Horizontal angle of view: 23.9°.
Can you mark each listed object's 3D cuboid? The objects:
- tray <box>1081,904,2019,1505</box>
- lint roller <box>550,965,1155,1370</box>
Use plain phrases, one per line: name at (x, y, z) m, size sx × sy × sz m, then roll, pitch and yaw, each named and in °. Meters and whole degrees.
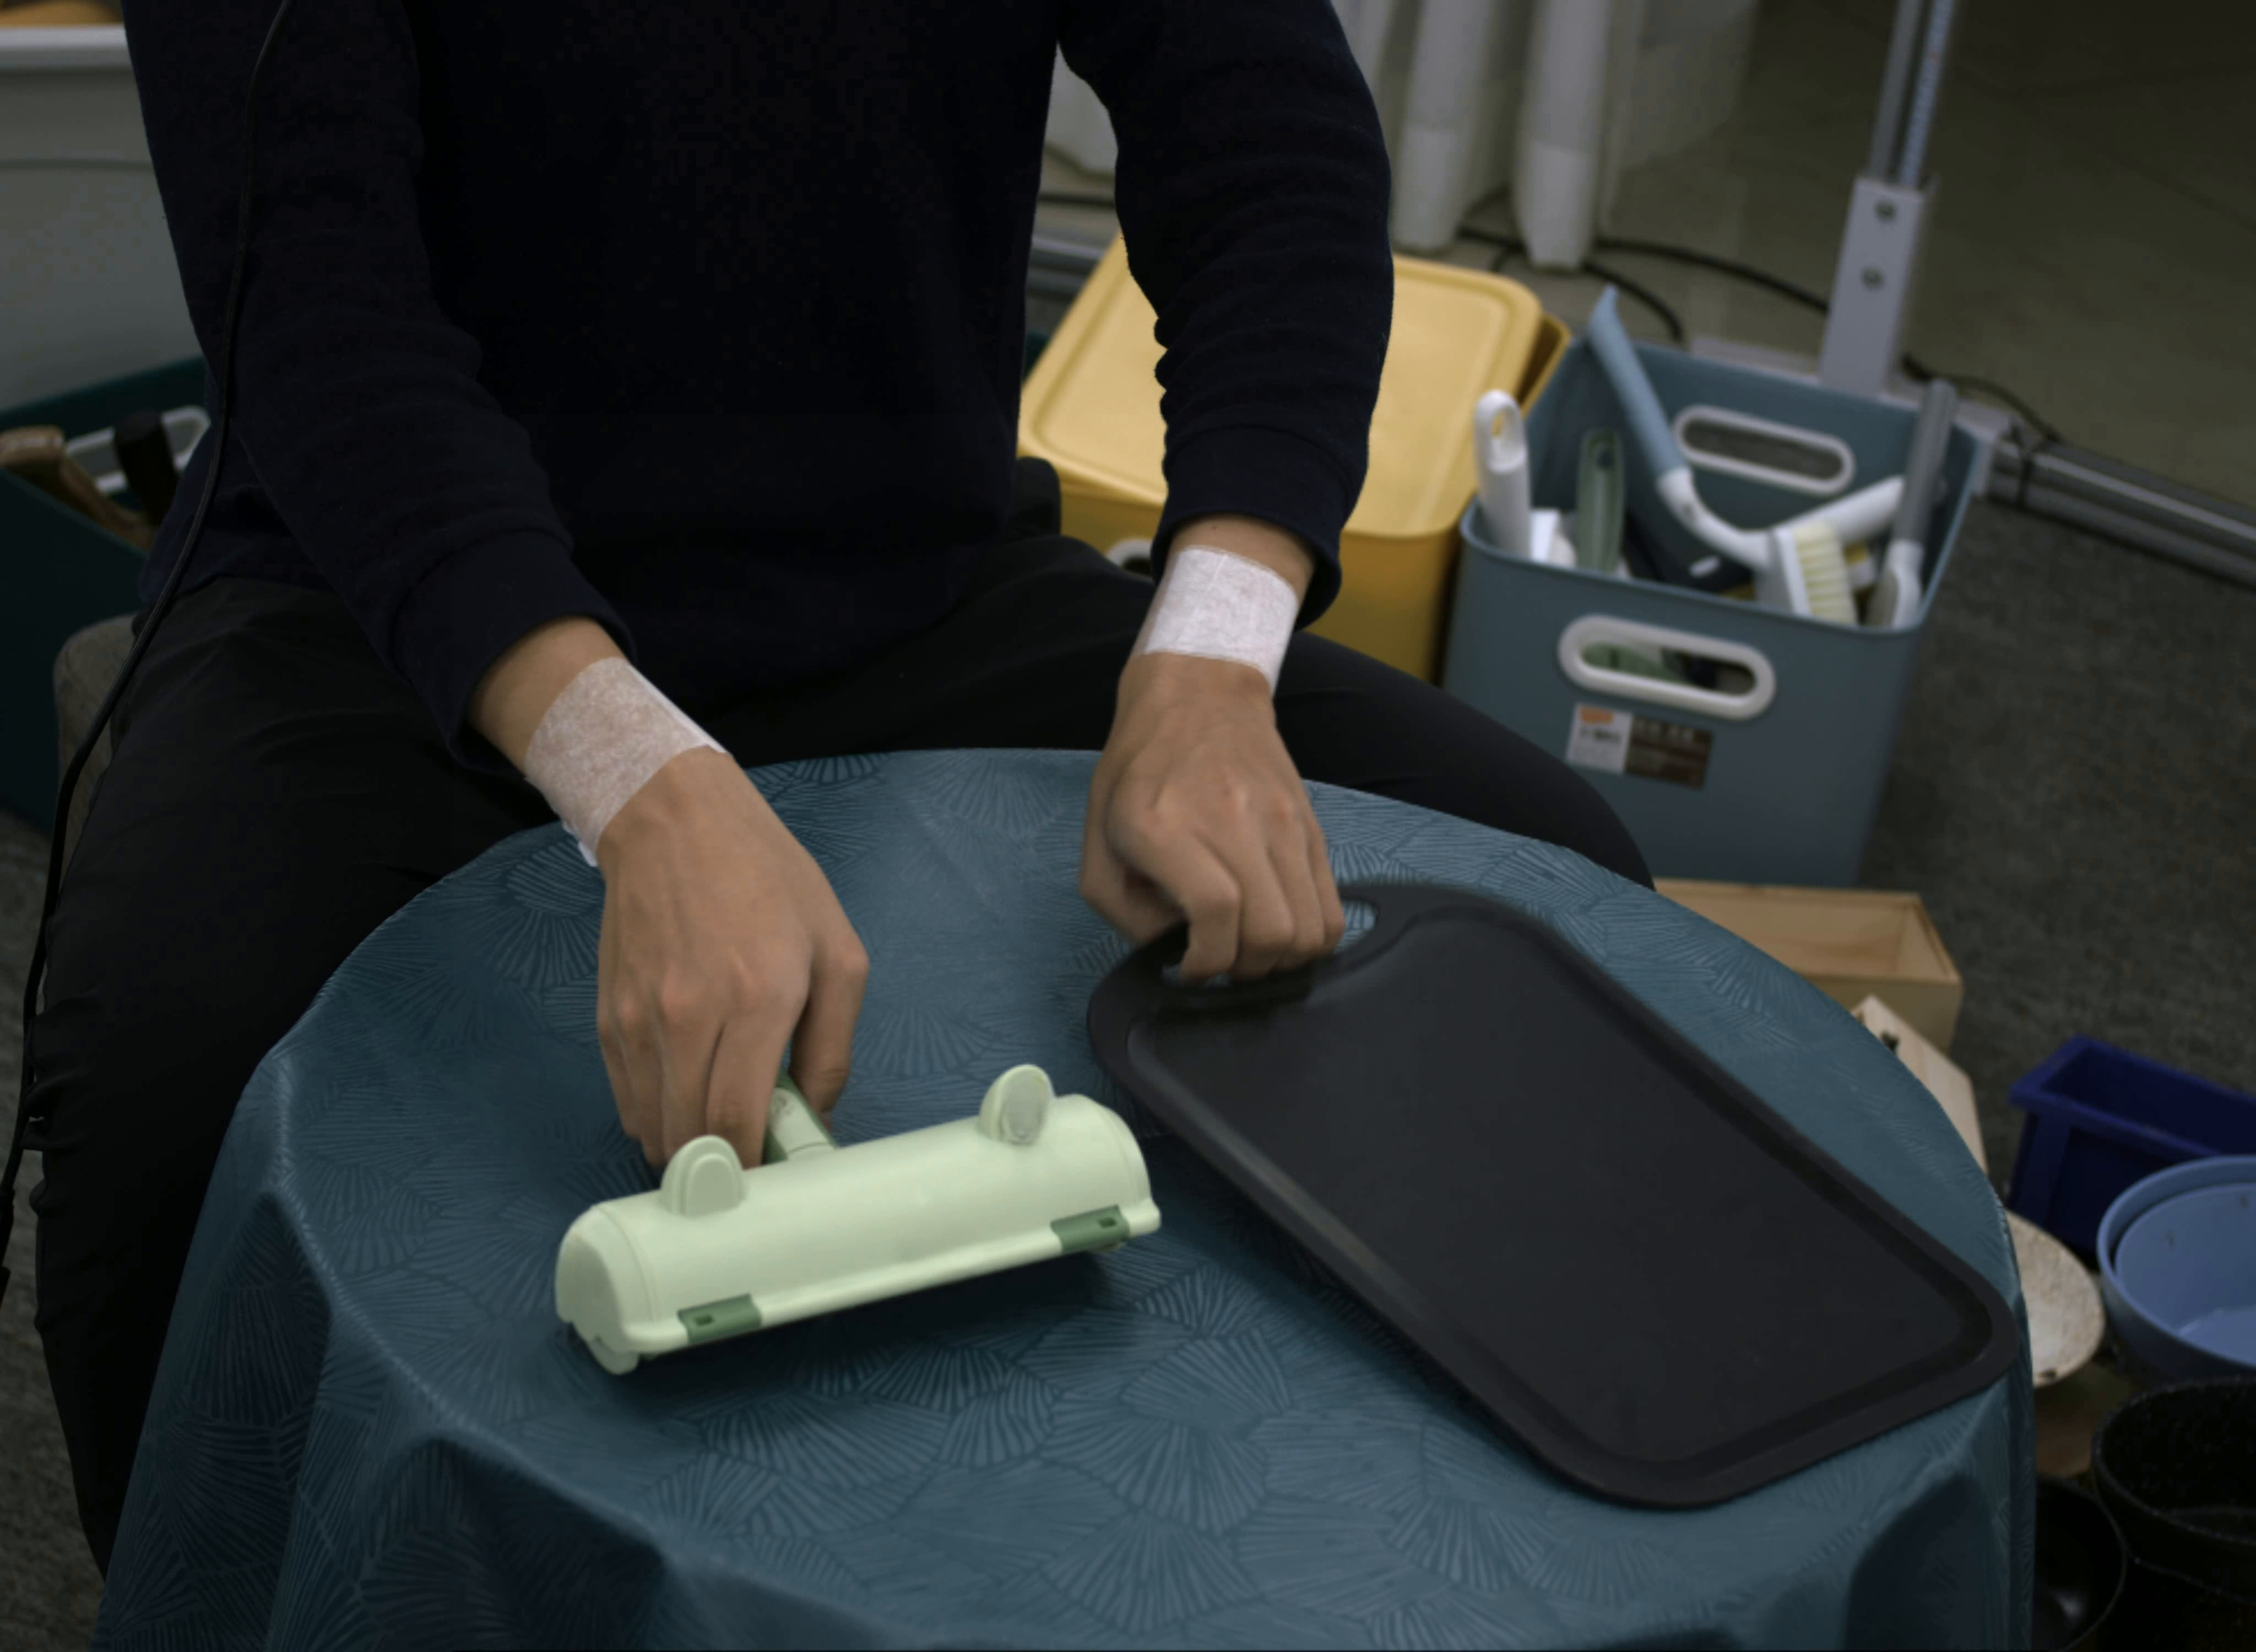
tray at (0.134, 0.117, 1.805) m, size 0.210 × 0.010 × 0.328 m, roll -16°, pitch 40°, yaw -38°
lint roller at (-0.113, 0.088, 1.735) m, size 0.197 × 0.082 × 0.185 m, roll -11°, pitch 47°, yaw -30°
